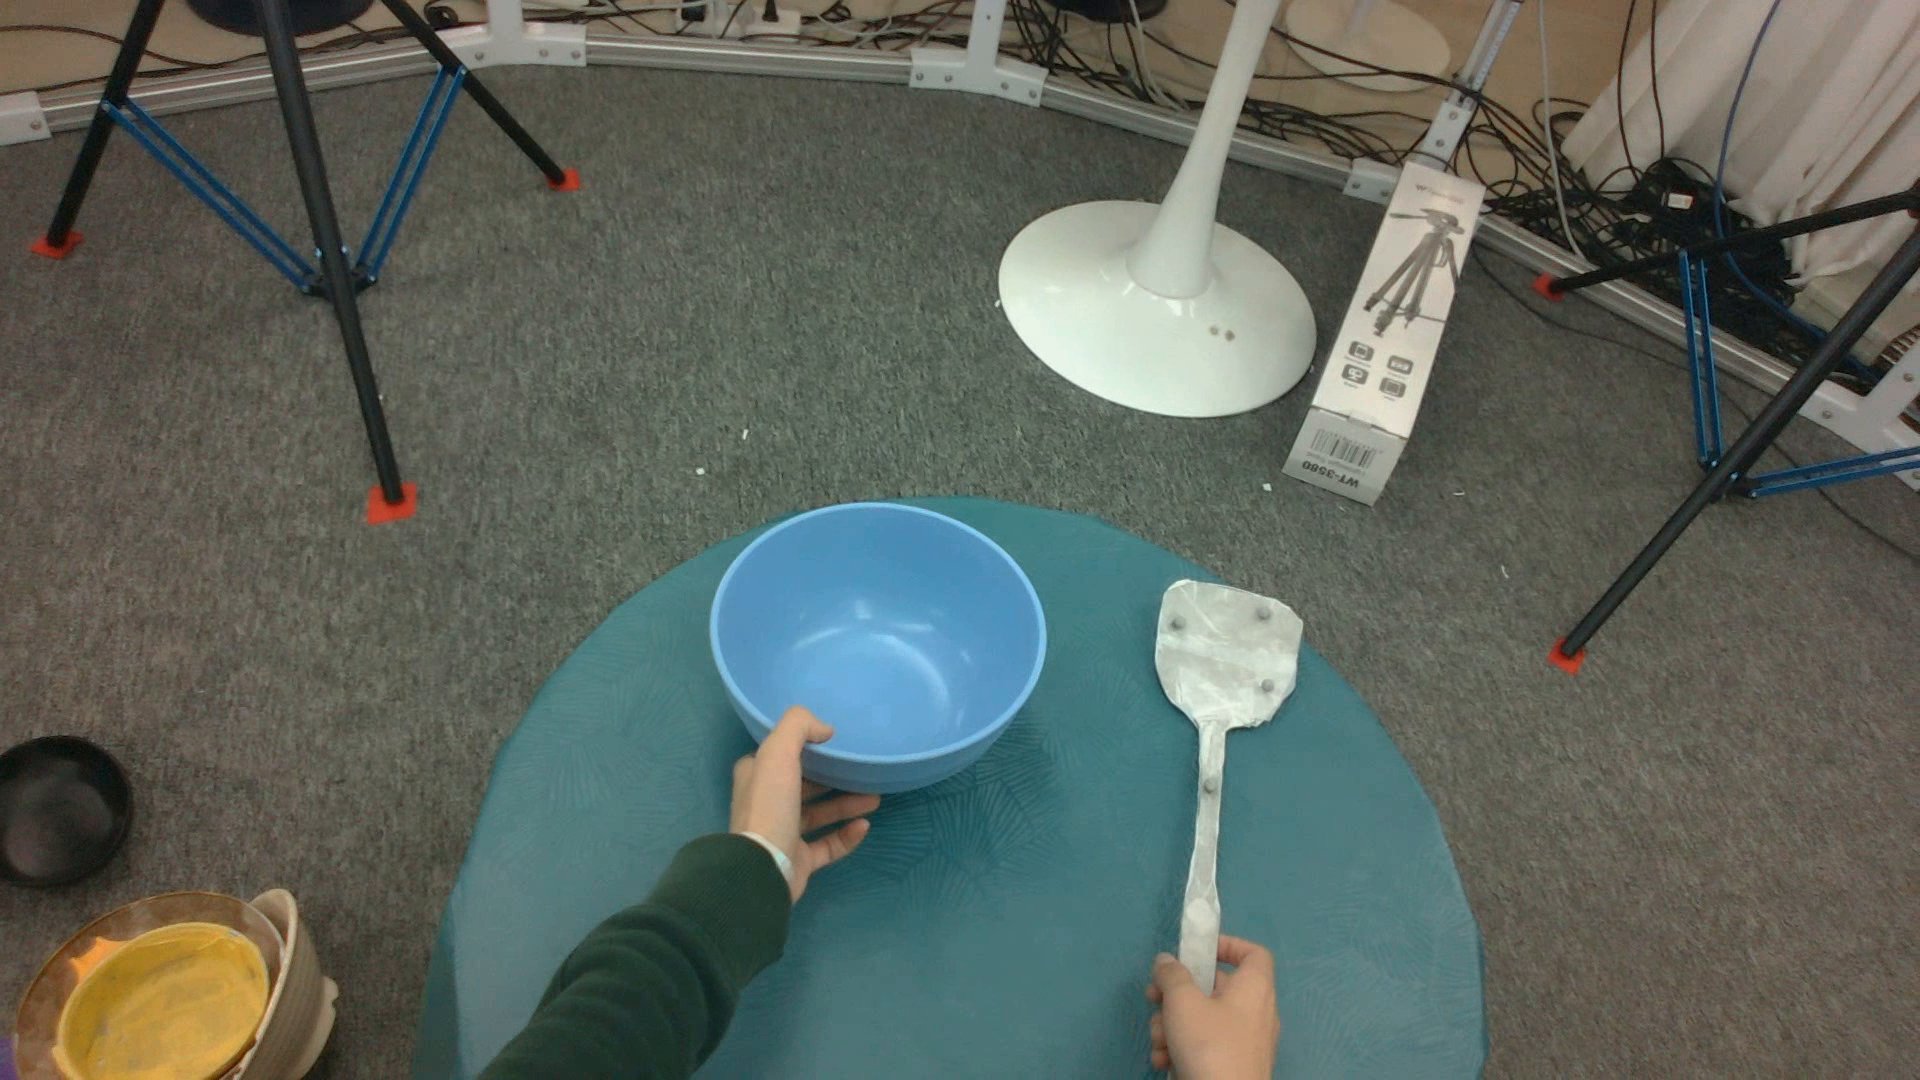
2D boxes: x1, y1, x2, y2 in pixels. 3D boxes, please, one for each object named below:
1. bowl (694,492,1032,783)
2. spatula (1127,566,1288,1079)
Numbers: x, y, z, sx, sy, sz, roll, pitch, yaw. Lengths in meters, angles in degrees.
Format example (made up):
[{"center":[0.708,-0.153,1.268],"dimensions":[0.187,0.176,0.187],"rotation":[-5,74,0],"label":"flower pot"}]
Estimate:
[{"center":[-0.061,0.072,0.831],"dimensions":[0.196,0.095,0.197],"rotation":[6,45,-6],"label":"bowl"},{"center":[0.140,0.159,0.836],"dimensions":[0.099,0.044,0.367],"rotation":[16,44,1],"label":"spatula"}]
